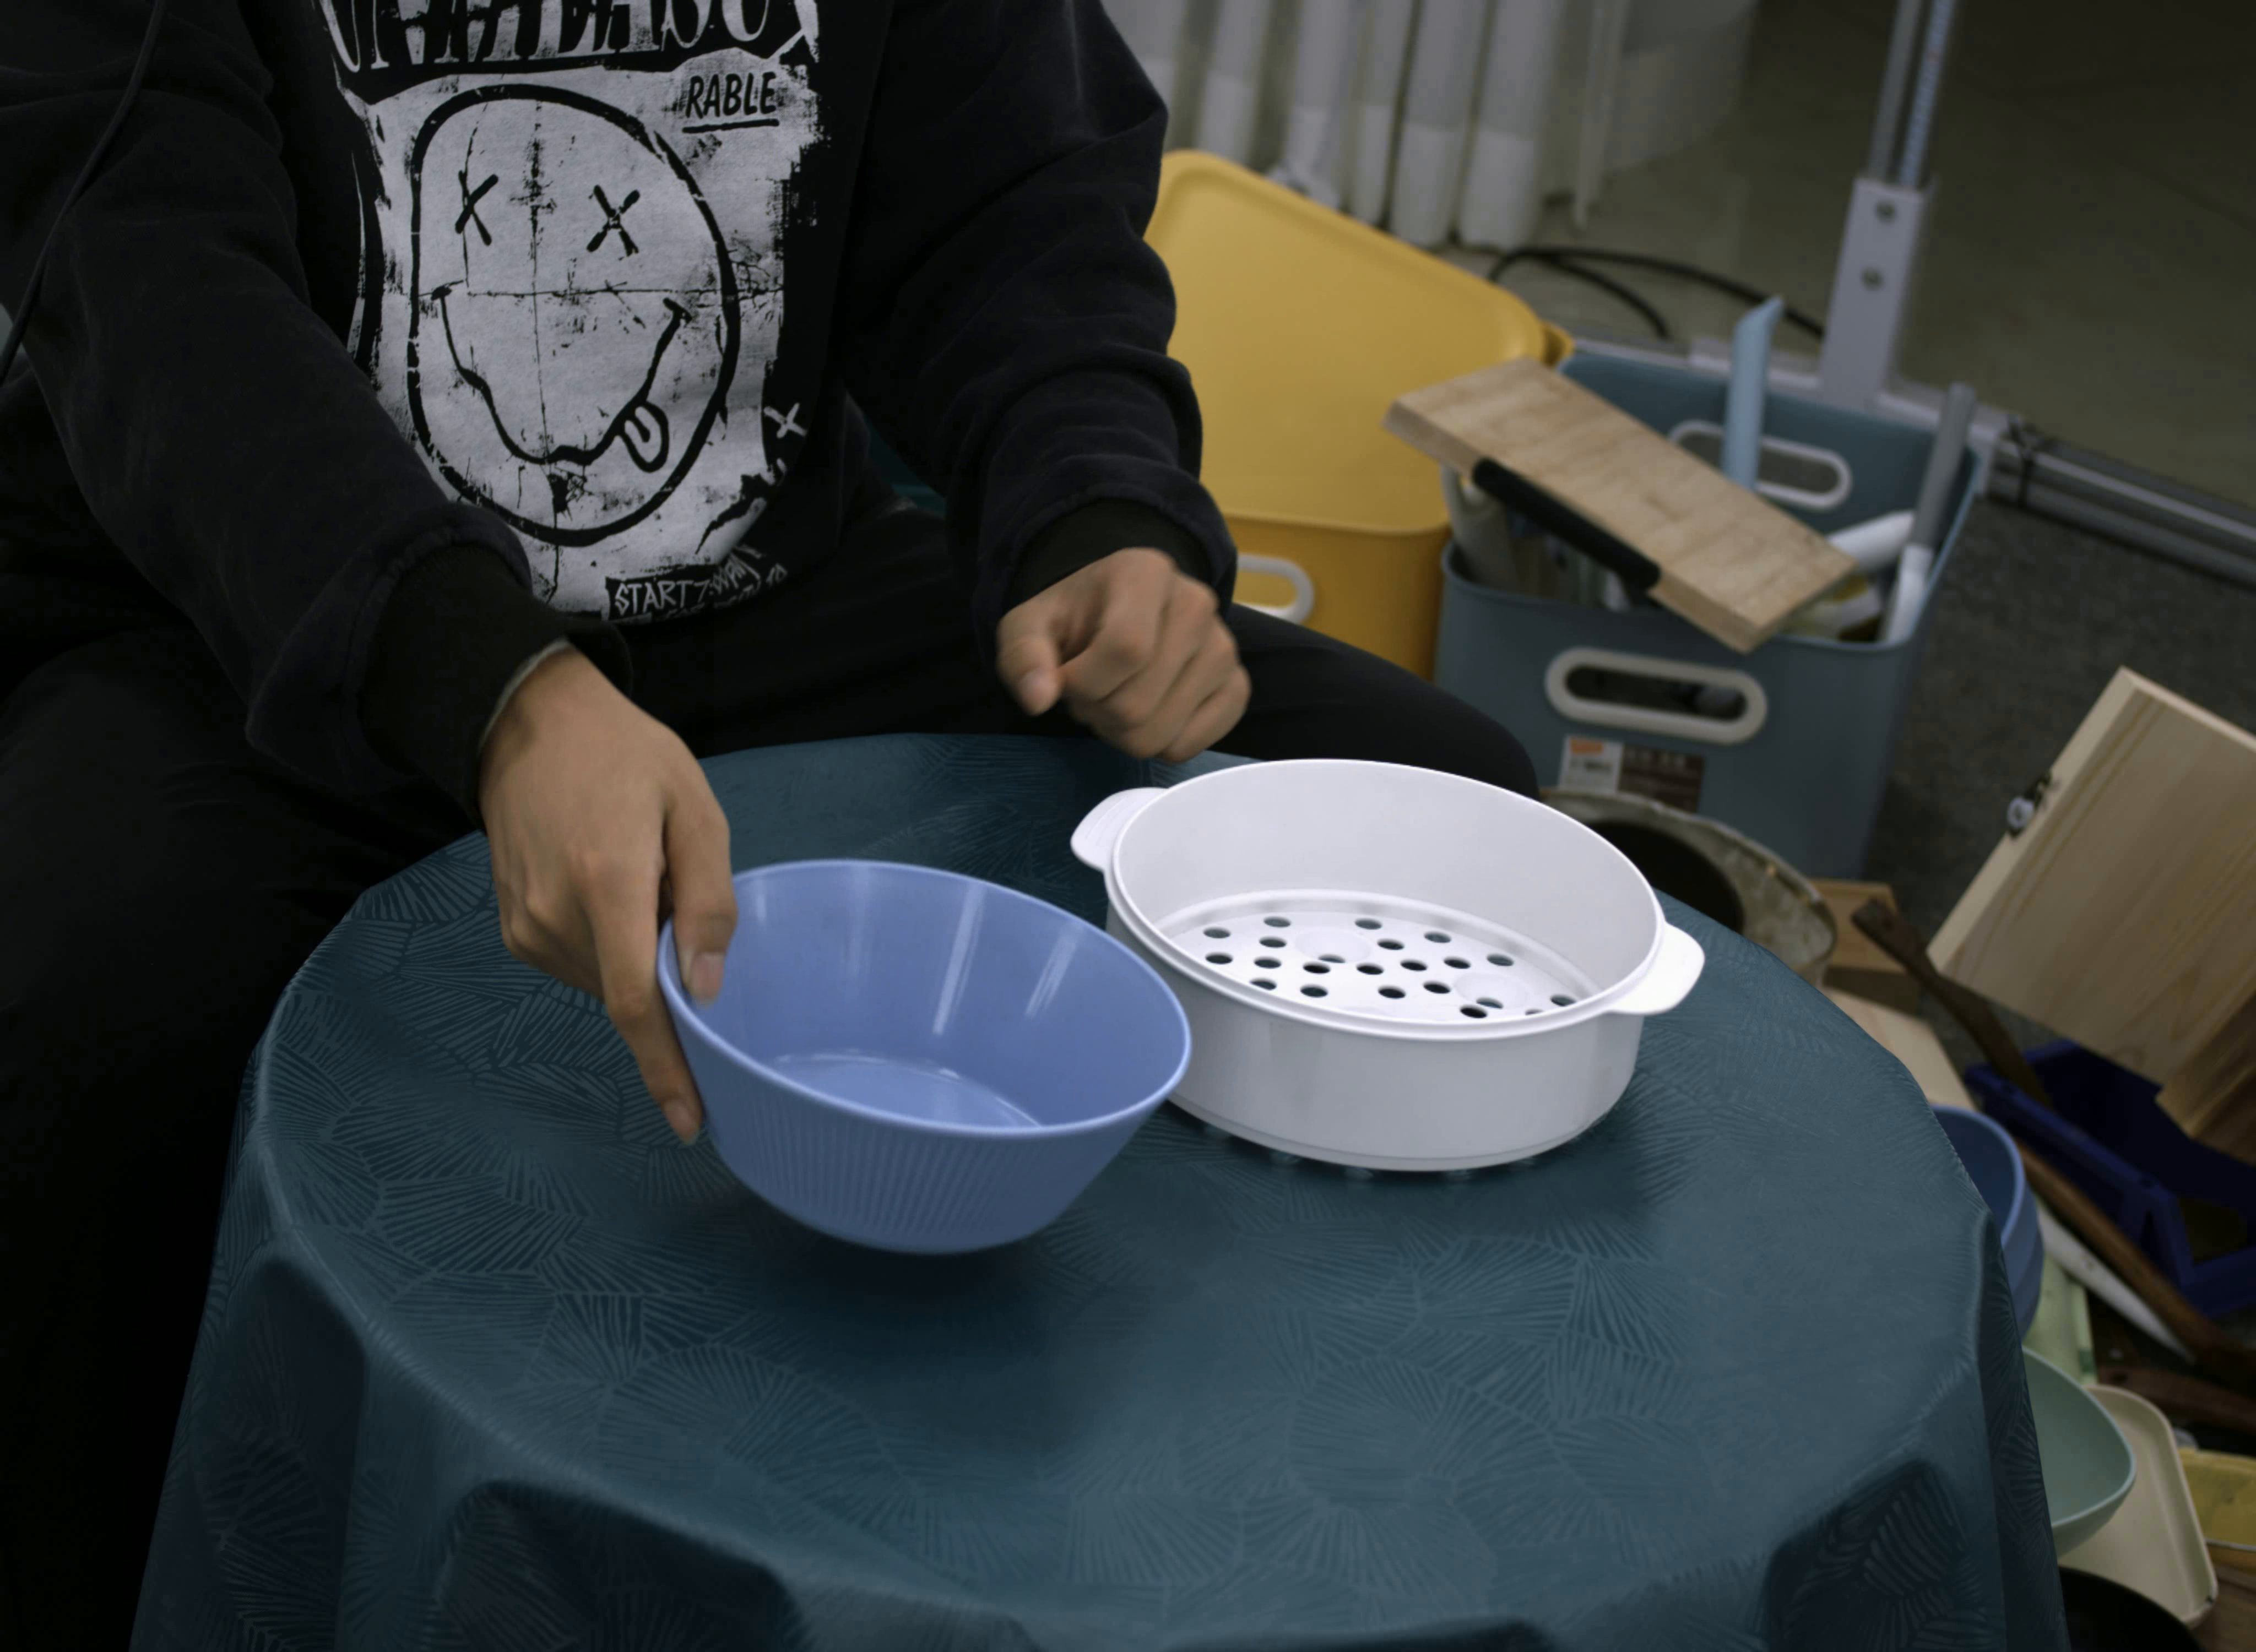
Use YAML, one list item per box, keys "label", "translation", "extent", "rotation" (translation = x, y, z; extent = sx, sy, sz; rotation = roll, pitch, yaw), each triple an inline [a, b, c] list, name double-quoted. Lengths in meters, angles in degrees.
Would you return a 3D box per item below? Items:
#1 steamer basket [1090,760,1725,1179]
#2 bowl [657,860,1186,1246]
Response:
- label: "steamer basket"
  translation: [0.094, 0.051, 1.889]
  extent: [0.231, 0.069, 0.202]
  rotation: [17, 28, 15]
- label: "bowl"
  translation: [-0.073, 0.080, 1.730]
  extent: [0.175, 0.070, 0.177]
  rotation: [12, 24, -6]
